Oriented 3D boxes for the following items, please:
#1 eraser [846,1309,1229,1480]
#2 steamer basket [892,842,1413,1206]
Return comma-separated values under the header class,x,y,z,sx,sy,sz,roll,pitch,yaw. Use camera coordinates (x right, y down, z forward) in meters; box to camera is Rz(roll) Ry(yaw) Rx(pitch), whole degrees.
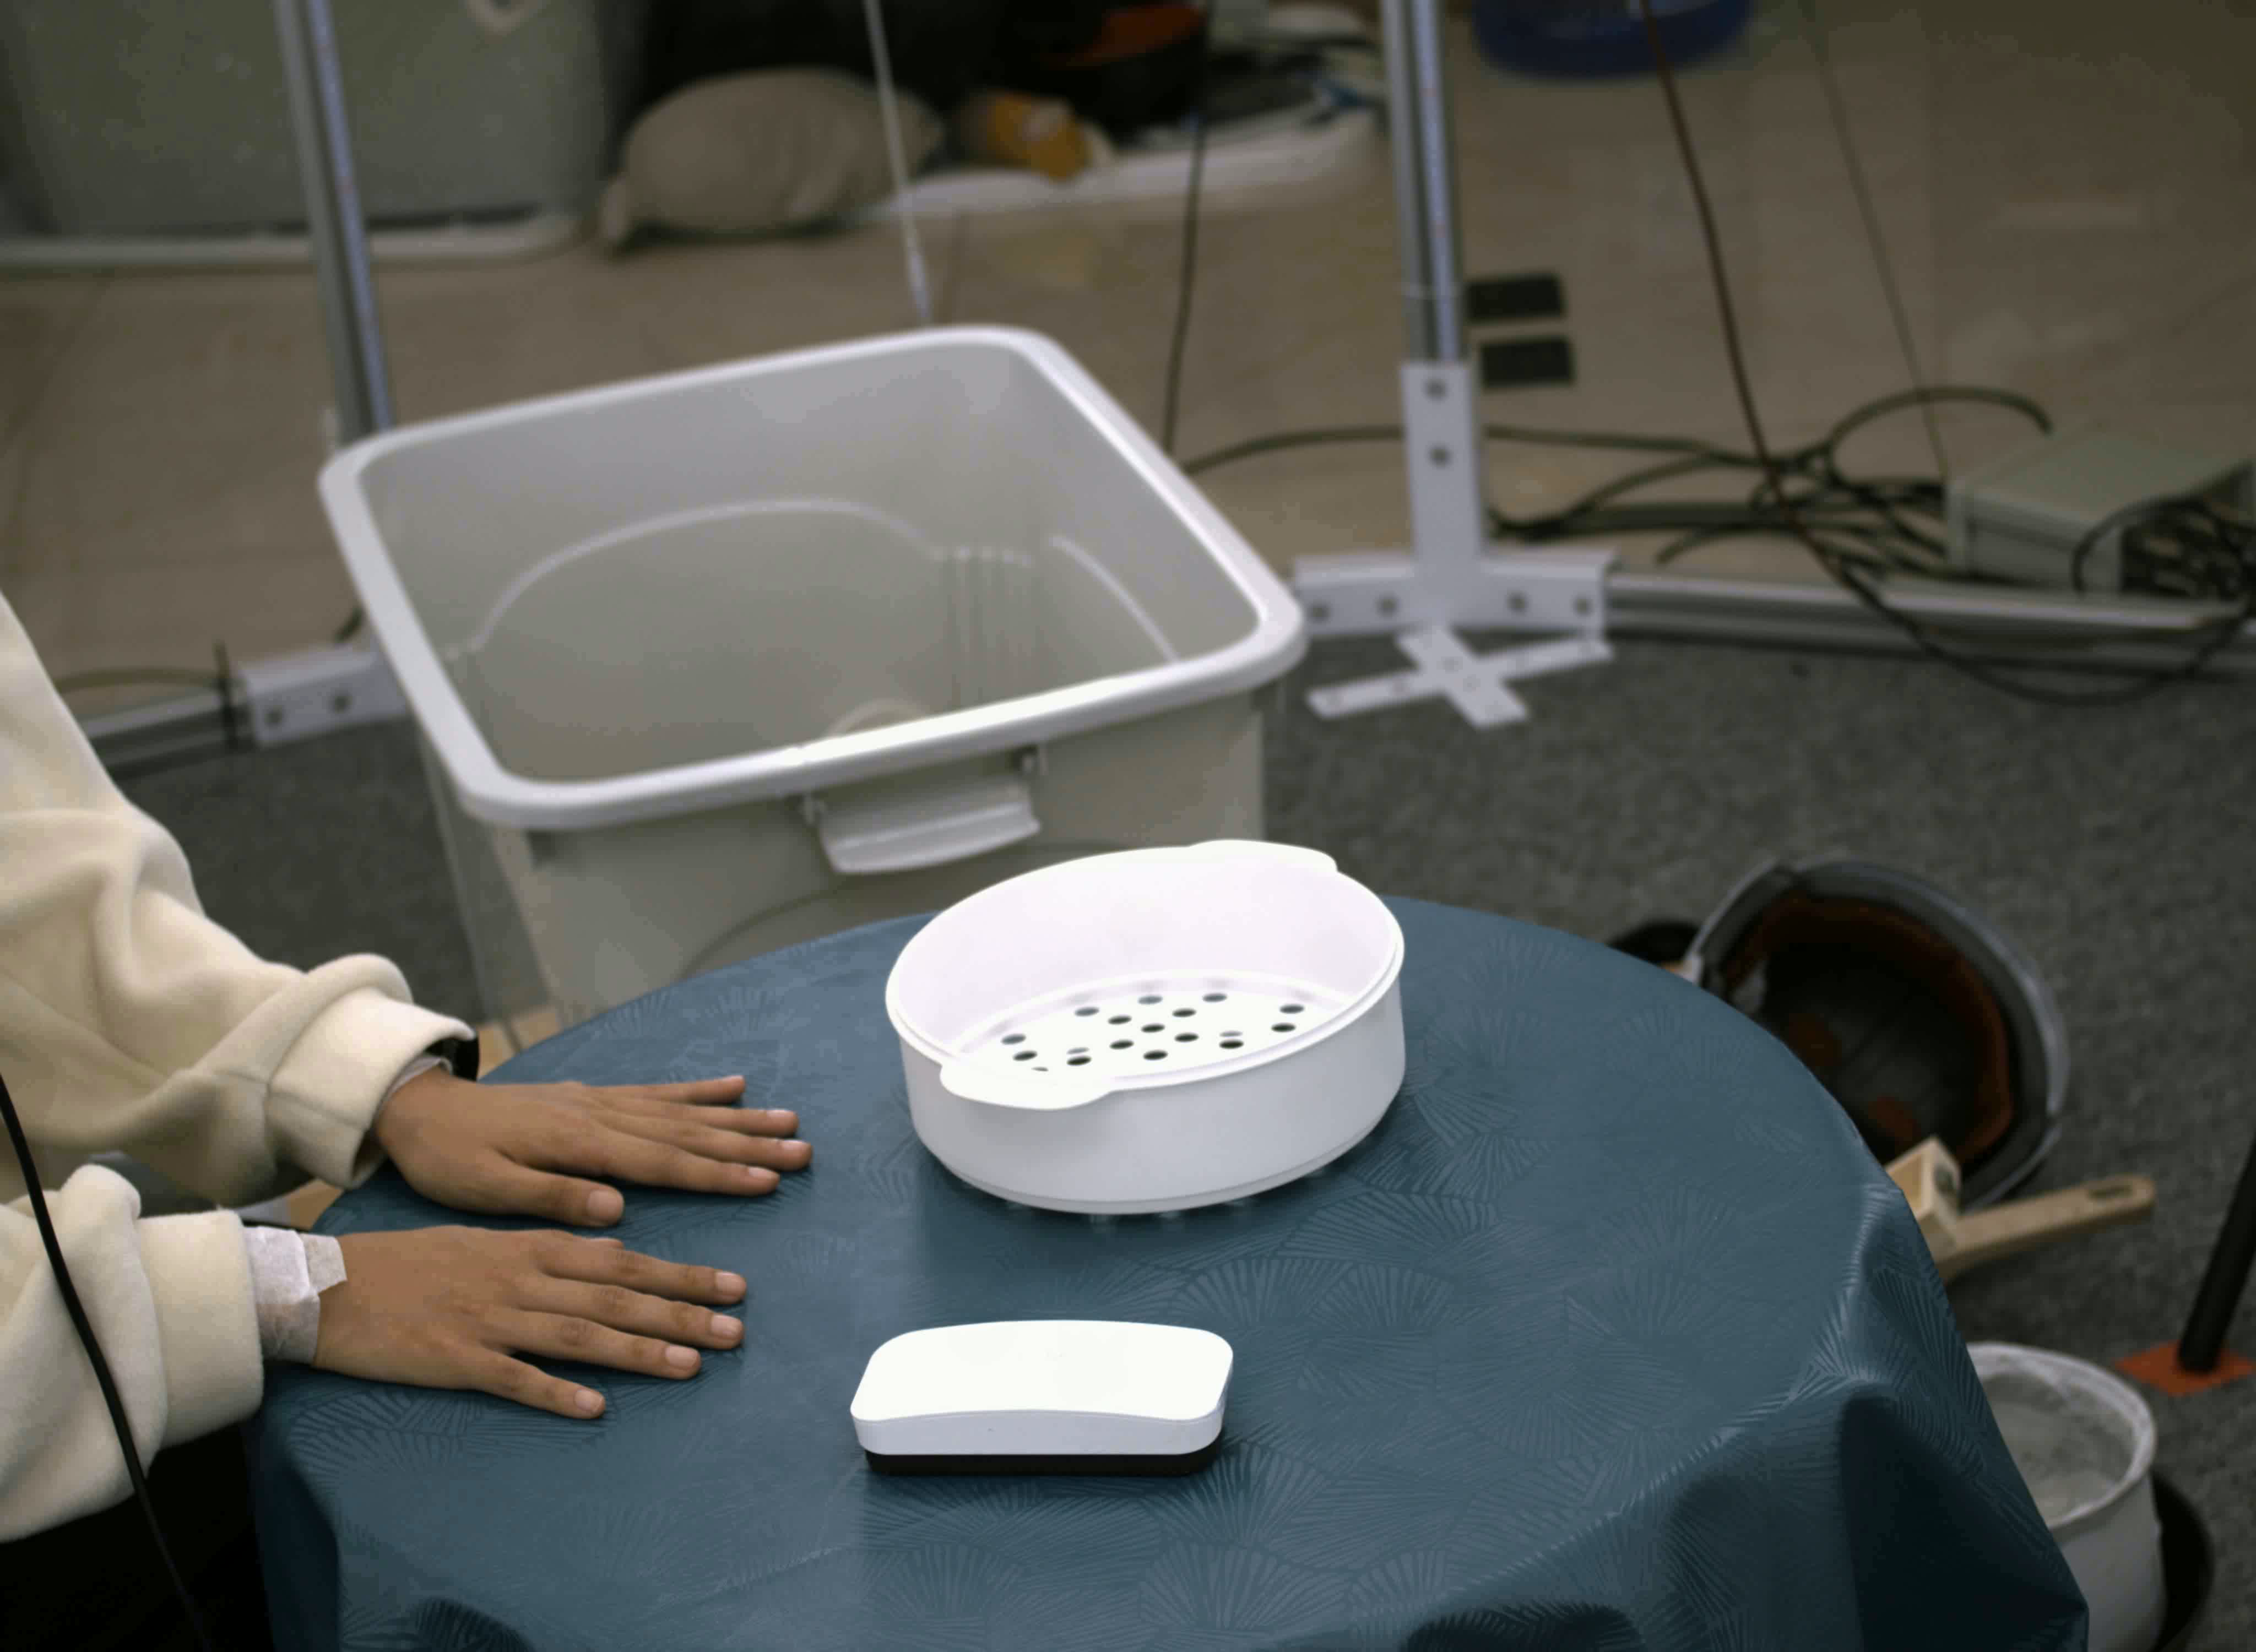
class,x,y,z,sx,sy,sz,roll,pitch,yaw
eraser,-0.031,0.200,1.988,0.131,0.035,0.062,0,26,13
steamer basket,0.012,0.079,2.195,0.201,0.070,0.228,7,27,28
